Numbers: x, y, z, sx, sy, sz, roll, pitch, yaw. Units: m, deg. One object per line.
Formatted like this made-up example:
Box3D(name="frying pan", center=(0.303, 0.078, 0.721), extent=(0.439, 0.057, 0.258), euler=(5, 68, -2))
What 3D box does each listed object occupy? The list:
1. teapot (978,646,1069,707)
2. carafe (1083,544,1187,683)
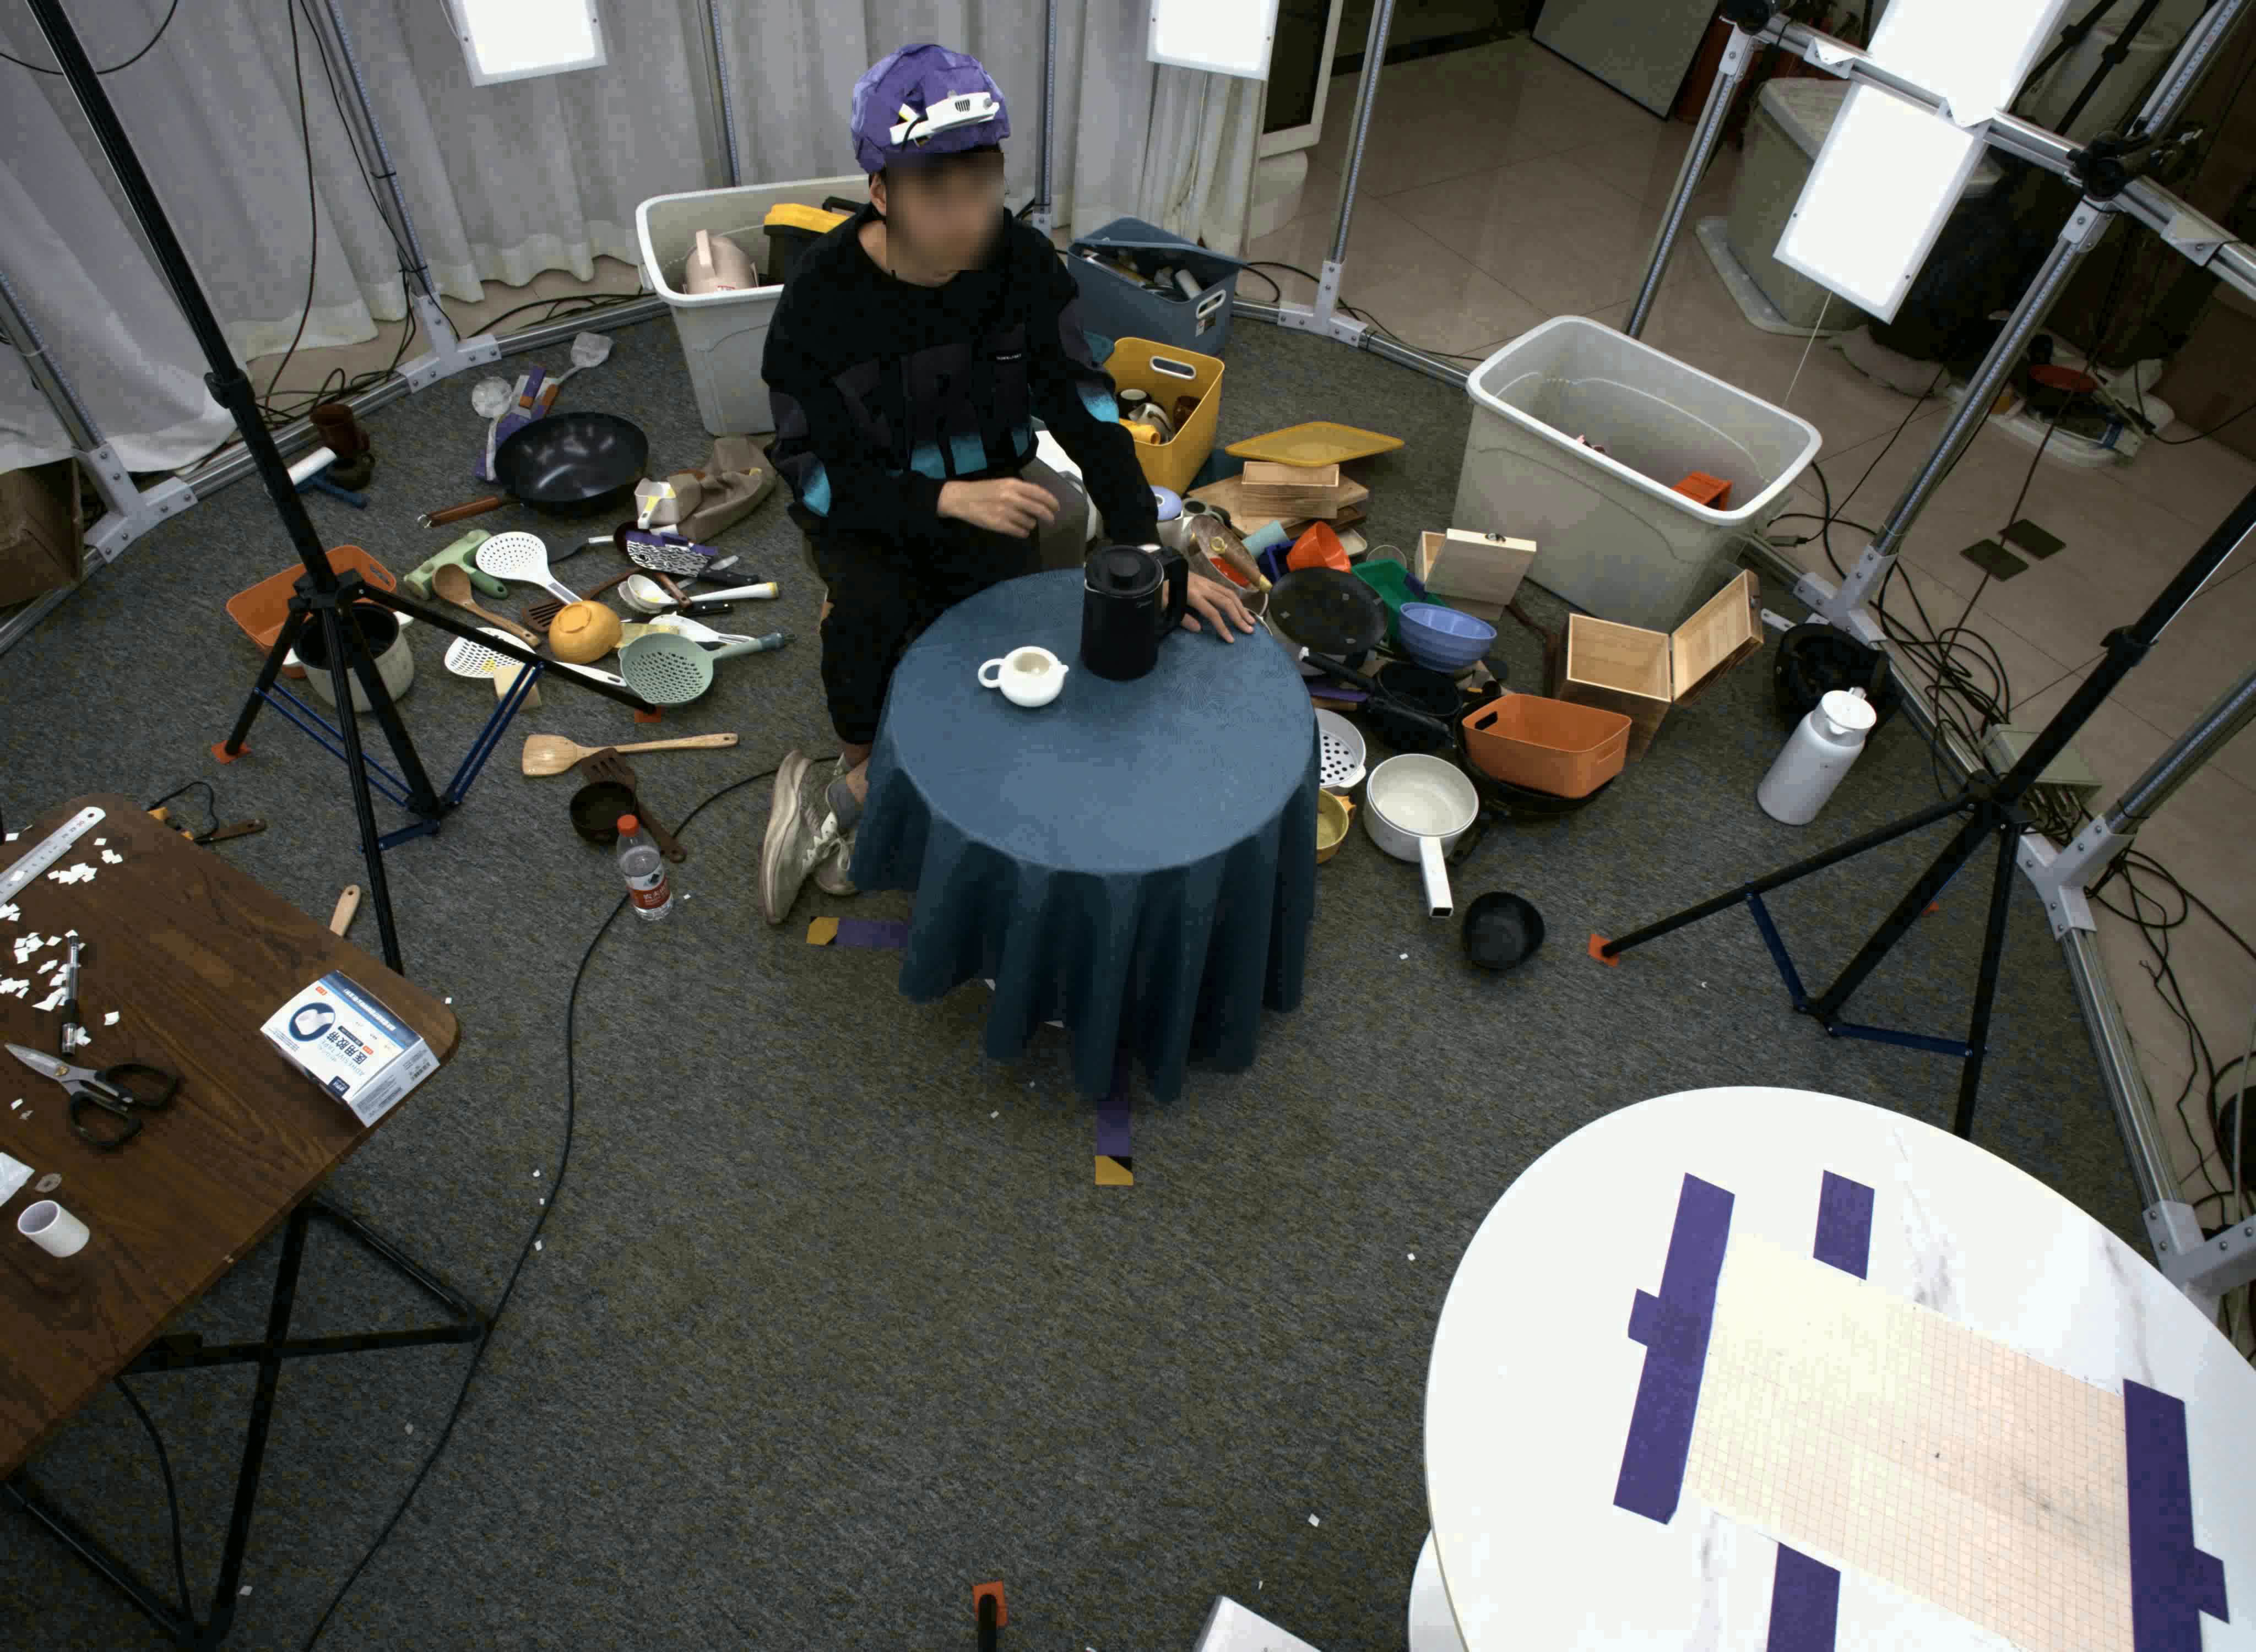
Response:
Box3D(name="teapot", center=(-0.147, -0.210, 1.806), extent=(0.127, 0.055, 0.096), euler=(0, 53, -3))
Box3D(name="carafe", center=(0.010, -0.315, 1.832), extent=(0.172, 0.169, 0.117), euler=(-29, 56, -23))
